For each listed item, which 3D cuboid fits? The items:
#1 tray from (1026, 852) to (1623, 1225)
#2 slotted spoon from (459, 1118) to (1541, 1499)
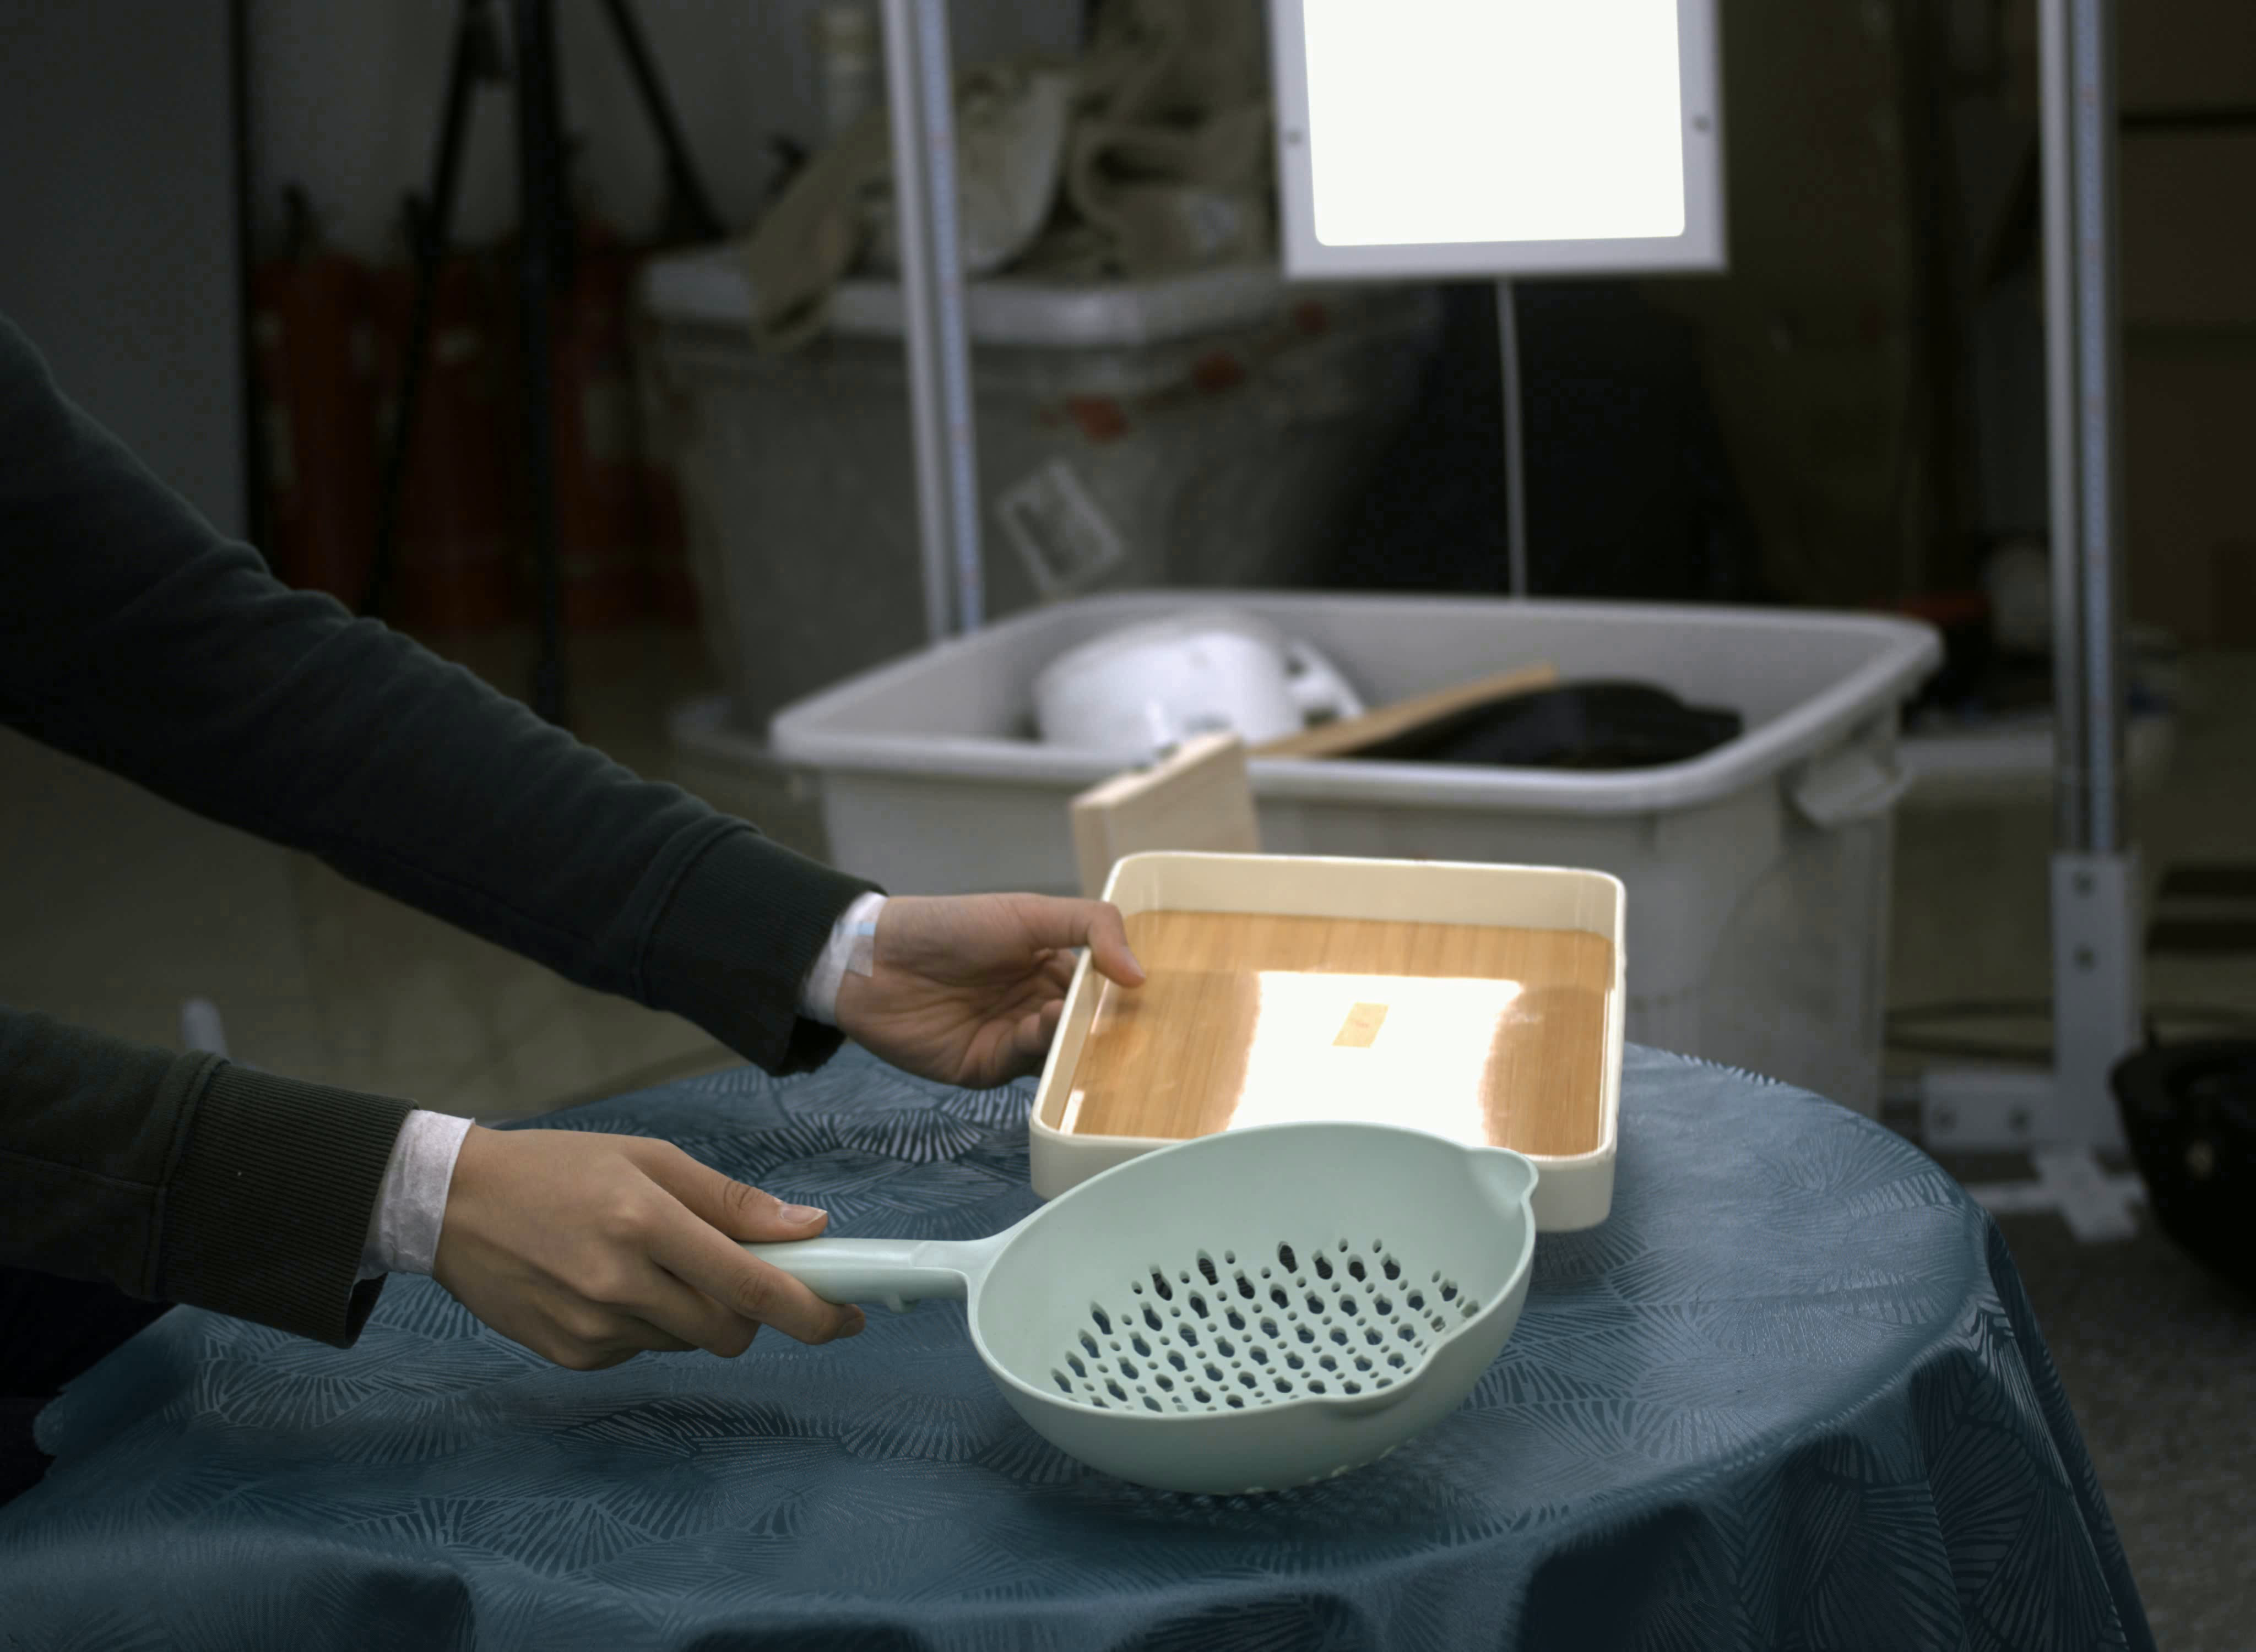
[{"bbox_3d":[0.074,0.069,1.891,0.192,0.027,0.298,2,17,6],"label":"tray"},{"bbox_3d":[-0.049,0.141,1.672,0.364,0.075,0.166,7,30,23],"label":"slotted spoon"}]
